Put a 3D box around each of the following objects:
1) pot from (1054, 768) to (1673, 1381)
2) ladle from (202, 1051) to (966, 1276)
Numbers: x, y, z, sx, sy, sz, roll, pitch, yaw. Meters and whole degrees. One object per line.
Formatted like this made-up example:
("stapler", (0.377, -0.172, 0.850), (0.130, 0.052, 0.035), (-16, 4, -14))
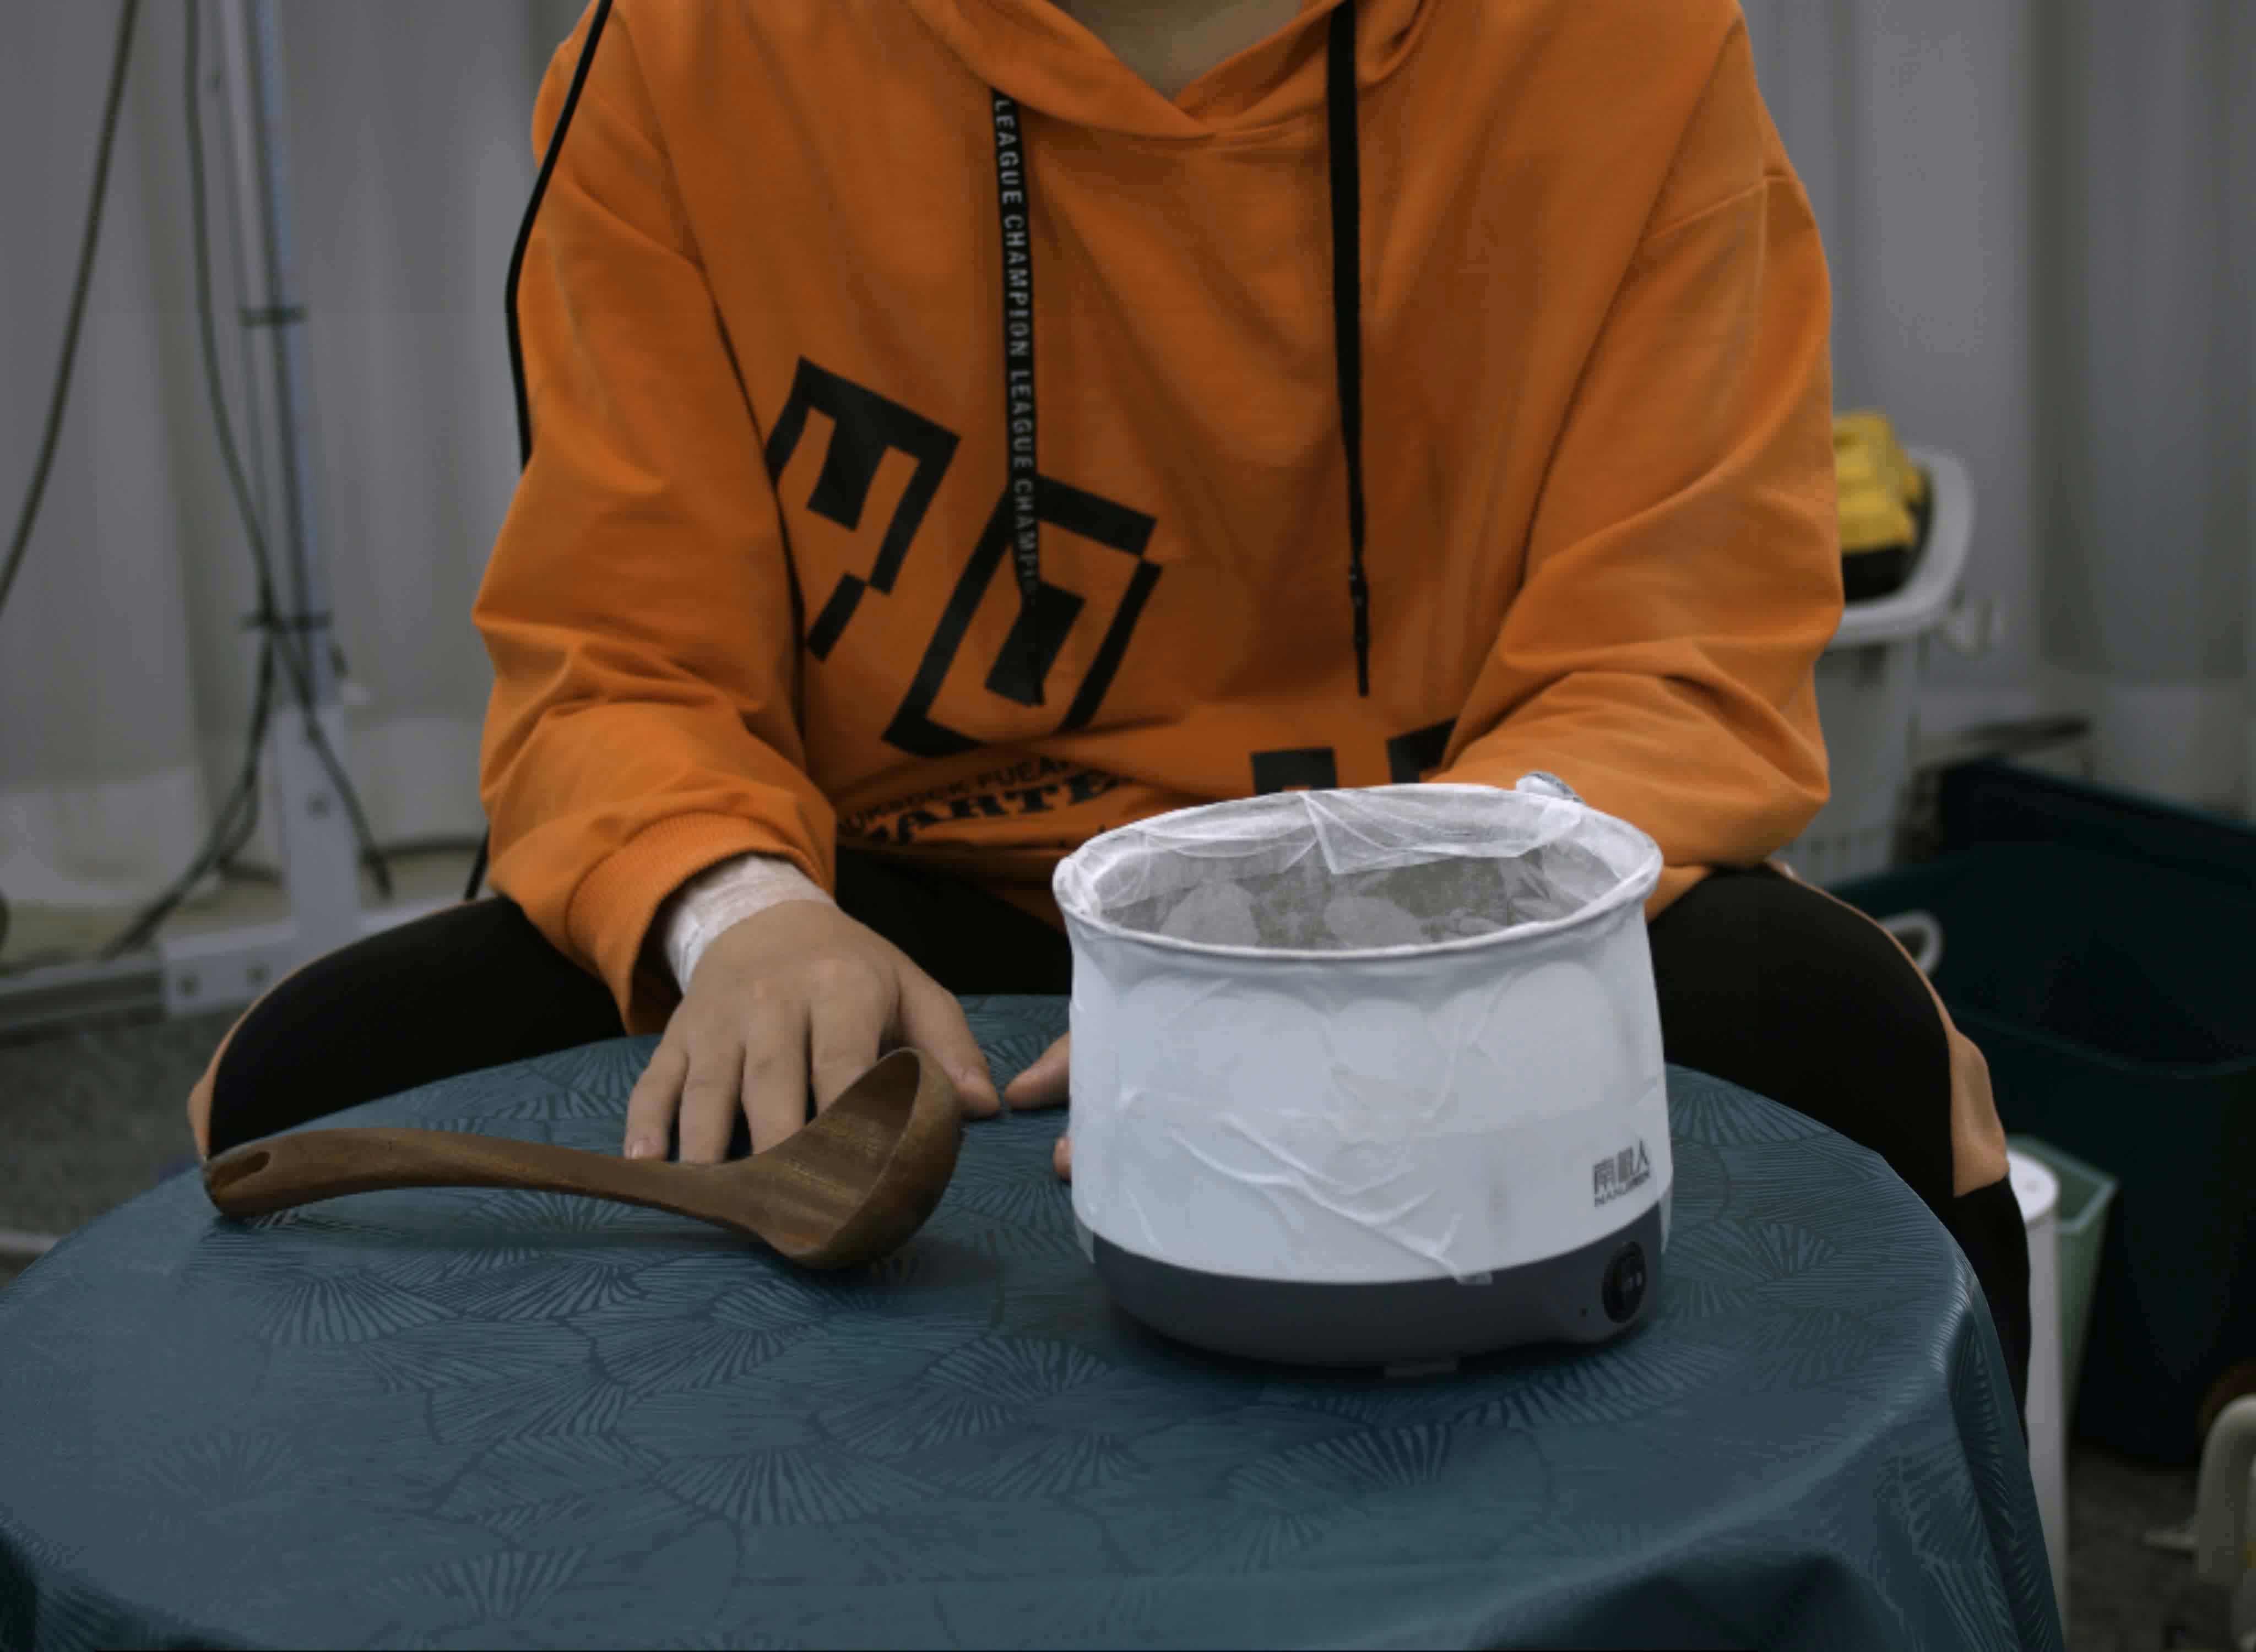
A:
("pot", (0.085, 0.066, 1.617), (0.179, 0.136, 0.234), (8, 18, 34))
("ladle", (-0.172, 0.100, 1.687), (0.260, 0.064, 0.077), (2, 41, 17))
